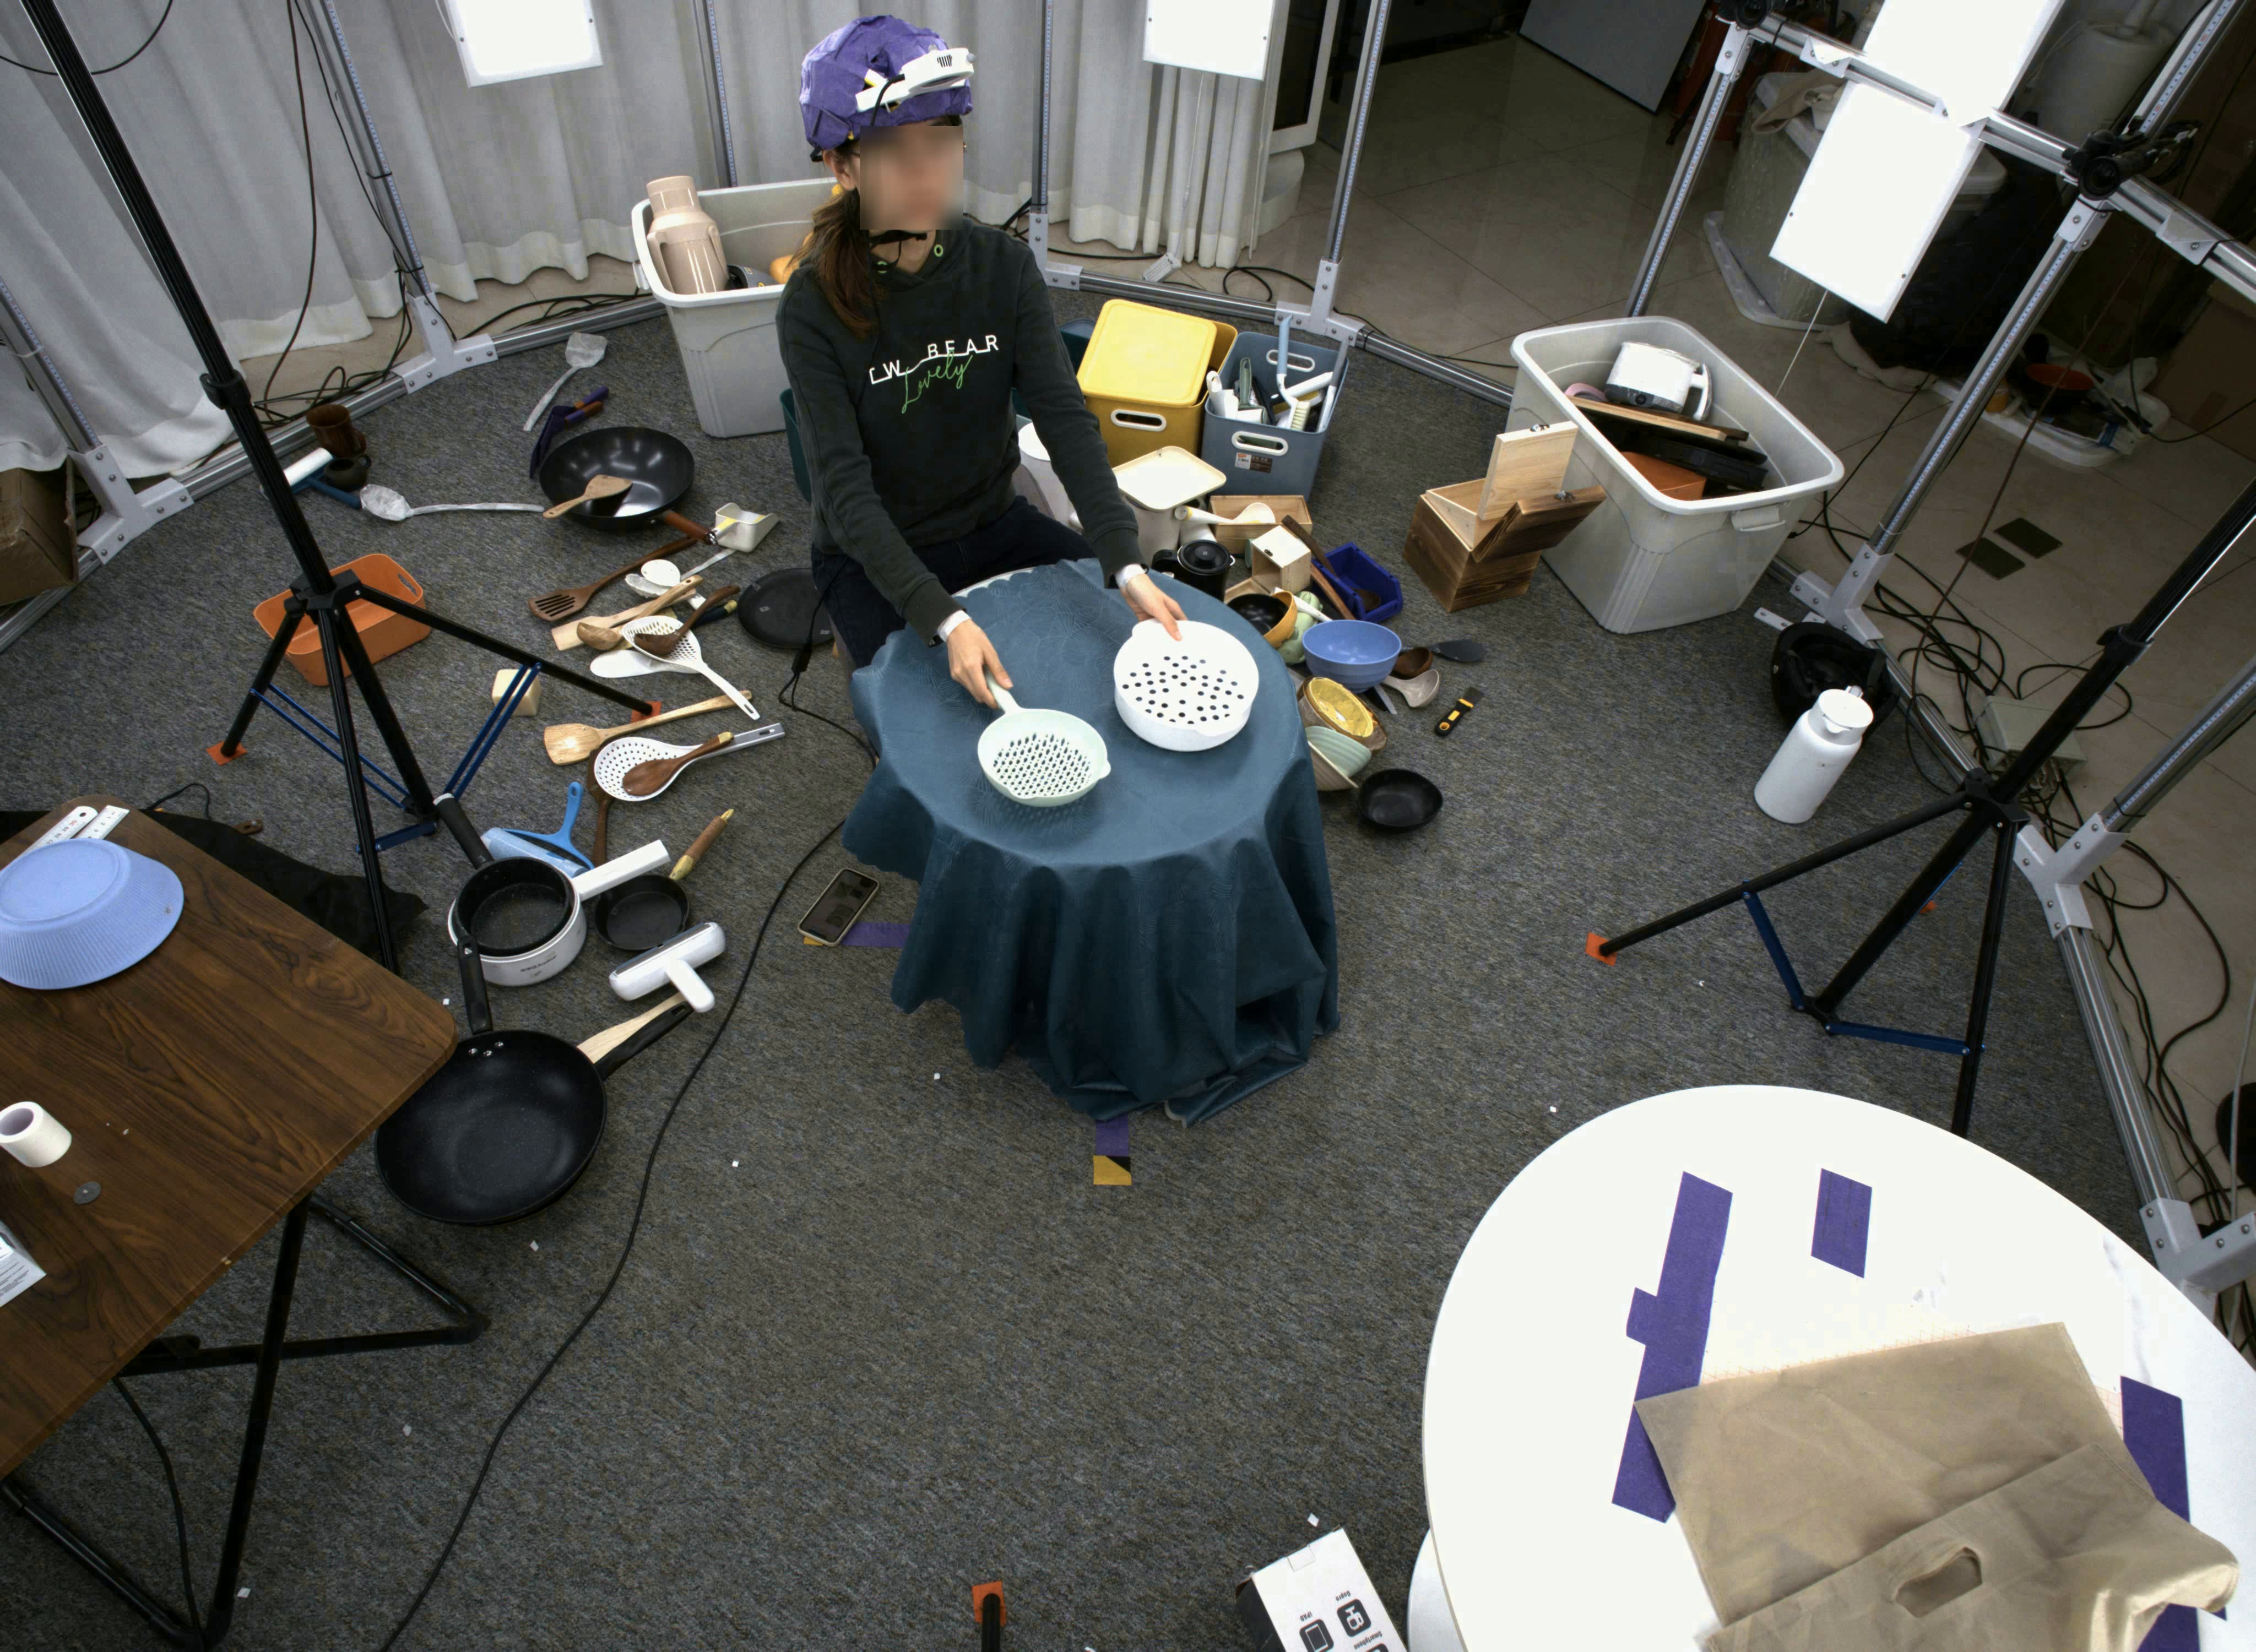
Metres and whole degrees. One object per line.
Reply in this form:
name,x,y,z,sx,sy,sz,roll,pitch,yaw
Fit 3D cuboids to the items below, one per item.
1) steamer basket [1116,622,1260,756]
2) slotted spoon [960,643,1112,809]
steamer basket,0.082,-0.189,1.809,0.202,0.067,0.235,-20,56,-20
slotted spoon,-0.156,-0.152,1.756,0.169,0.073,0.366,-16,56,-22
